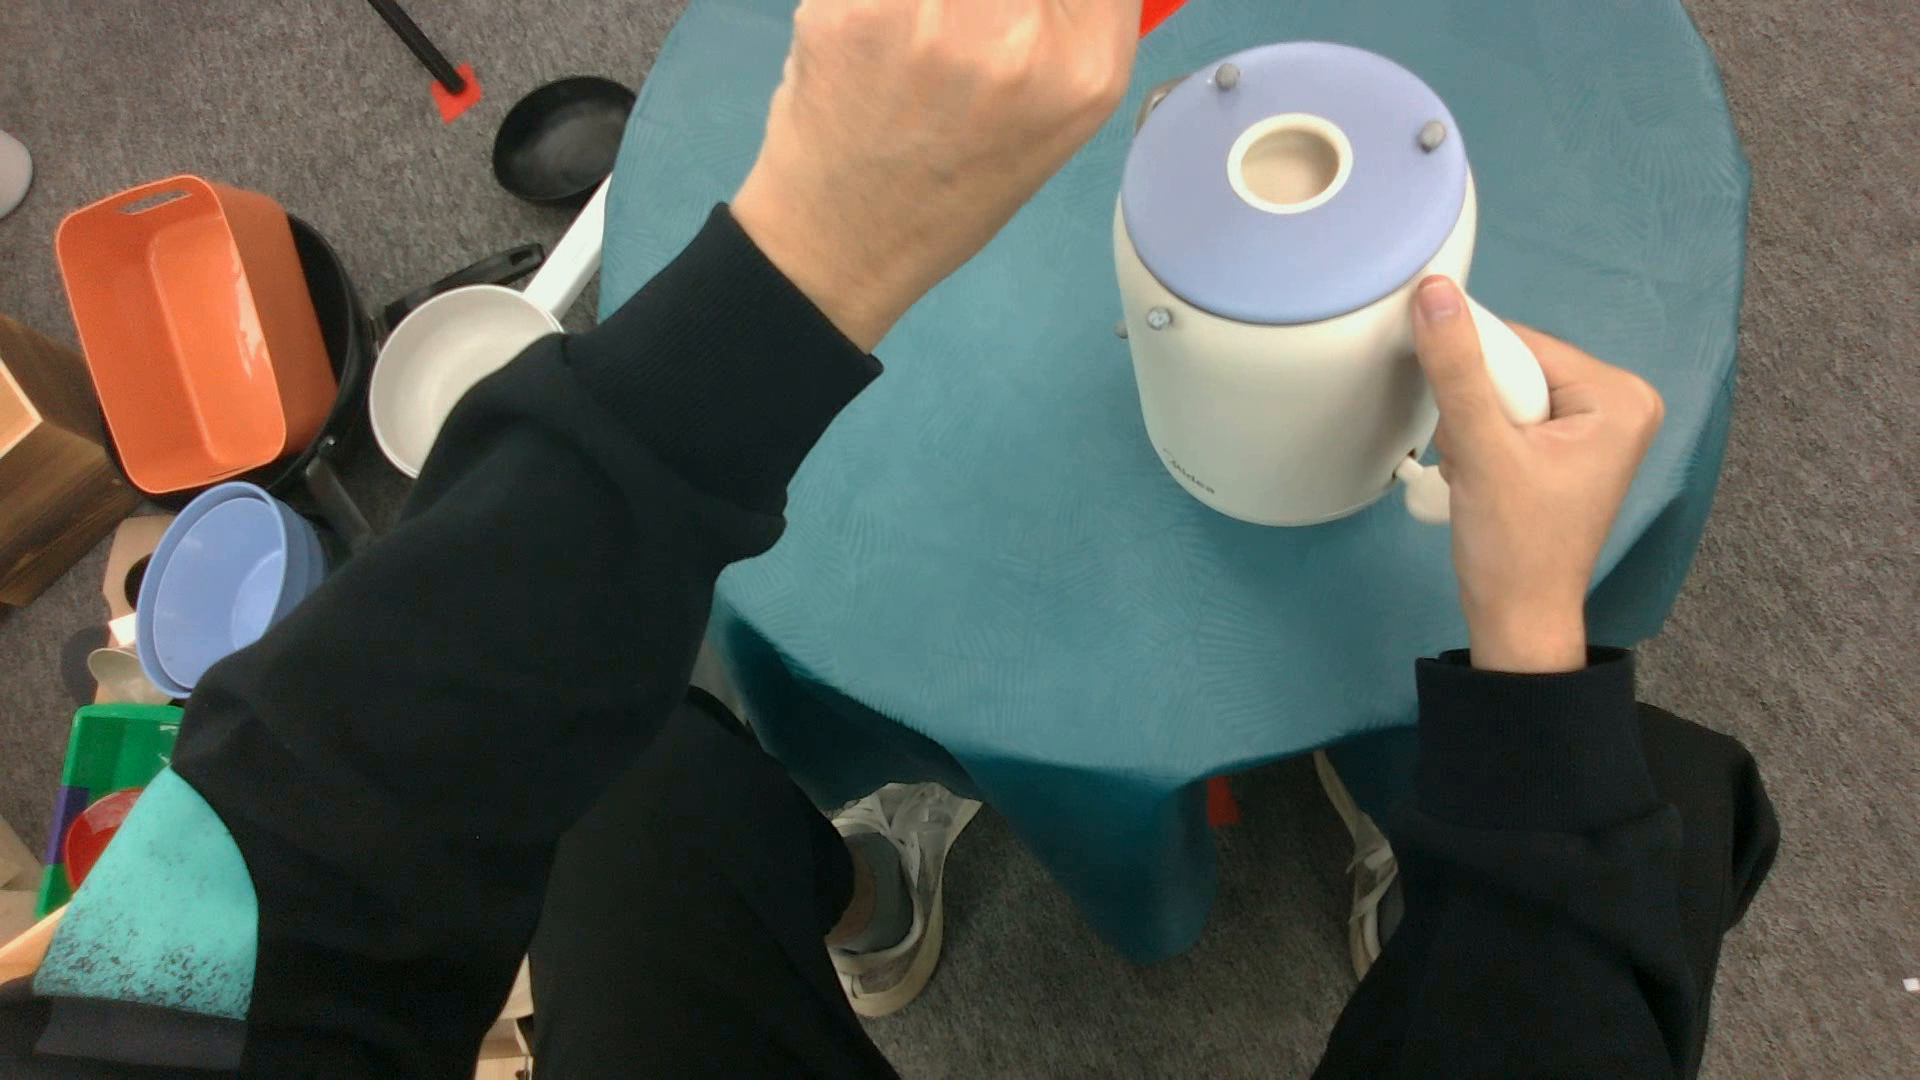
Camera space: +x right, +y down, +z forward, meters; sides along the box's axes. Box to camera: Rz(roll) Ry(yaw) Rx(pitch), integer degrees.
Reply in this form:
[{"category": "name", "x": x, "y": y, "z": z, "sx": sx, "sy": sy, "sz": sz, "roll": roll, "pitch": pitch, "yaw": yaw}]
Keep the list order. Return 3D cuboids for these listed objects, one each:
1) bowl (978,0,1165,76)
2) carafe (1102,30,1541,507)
[{"category": "bowl", "x": 0.044, "y": -0.212, "z": 0.388, "sx": 0.148, "sy": 0.148, "sz": 0.104, "roll": -44, "pitch": 81, "yaw": -4}, {"category": "carafe", "x": 0.146, "y": -0.088, "z": 0.555, "sx": 0.191, "sy": 0.182, "sz": 0.132, "roll": 41, "pitch": 82, "yaw": 21}]
